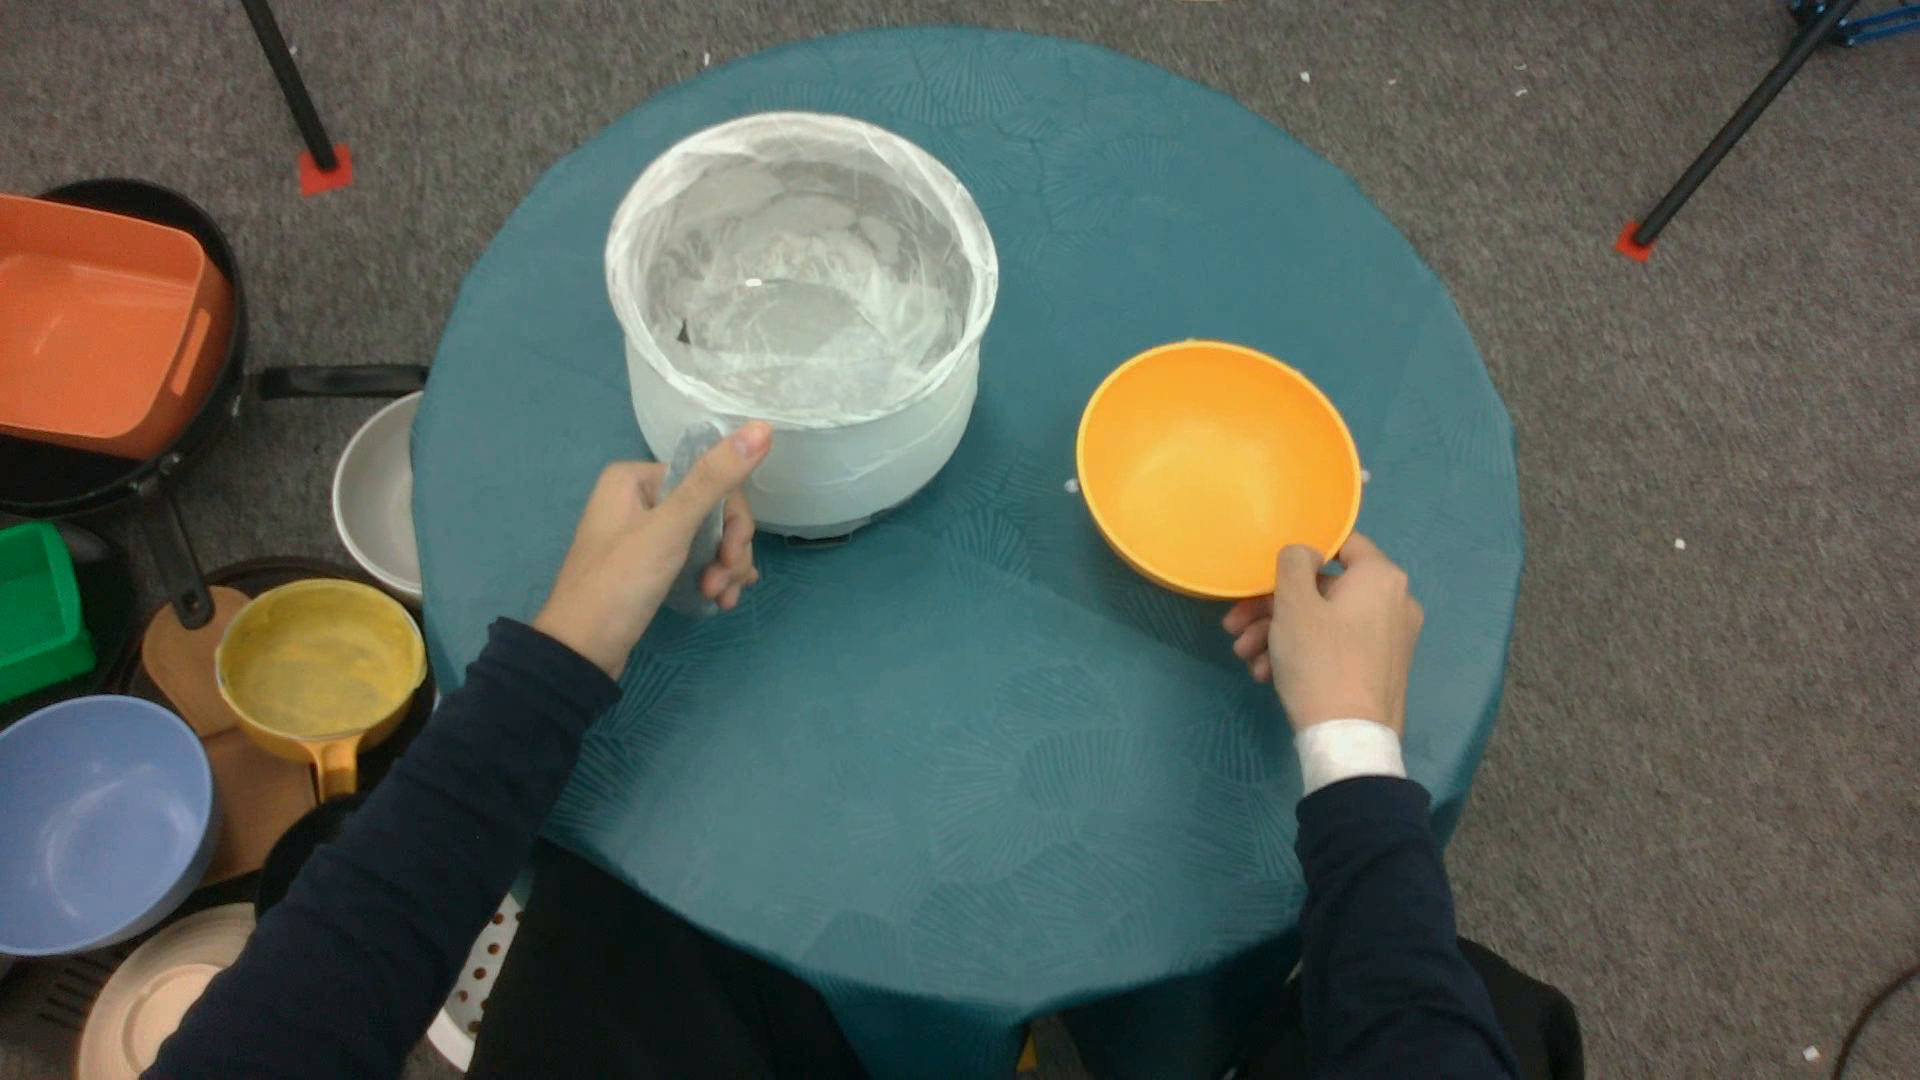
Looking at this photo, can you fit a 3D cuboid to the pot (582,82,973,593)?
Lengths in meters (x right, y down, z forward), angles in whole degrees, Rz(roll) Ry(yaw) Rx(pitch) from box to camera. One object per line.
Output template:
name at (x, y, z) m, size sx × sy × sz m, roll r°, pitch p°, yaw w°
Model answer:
pot at (-0.097, -0.091, 0.670) m, size 0.178 × 0.136 × 0.234 m, roll 20°, pitch 63°, yaw 4°

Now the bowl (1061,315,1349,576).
bowl at (0.121, -0.041, 0.712) m, size 0.145 × 0.060 × 0.146 m, roll 1°, pitch 68°, yaw -3°
